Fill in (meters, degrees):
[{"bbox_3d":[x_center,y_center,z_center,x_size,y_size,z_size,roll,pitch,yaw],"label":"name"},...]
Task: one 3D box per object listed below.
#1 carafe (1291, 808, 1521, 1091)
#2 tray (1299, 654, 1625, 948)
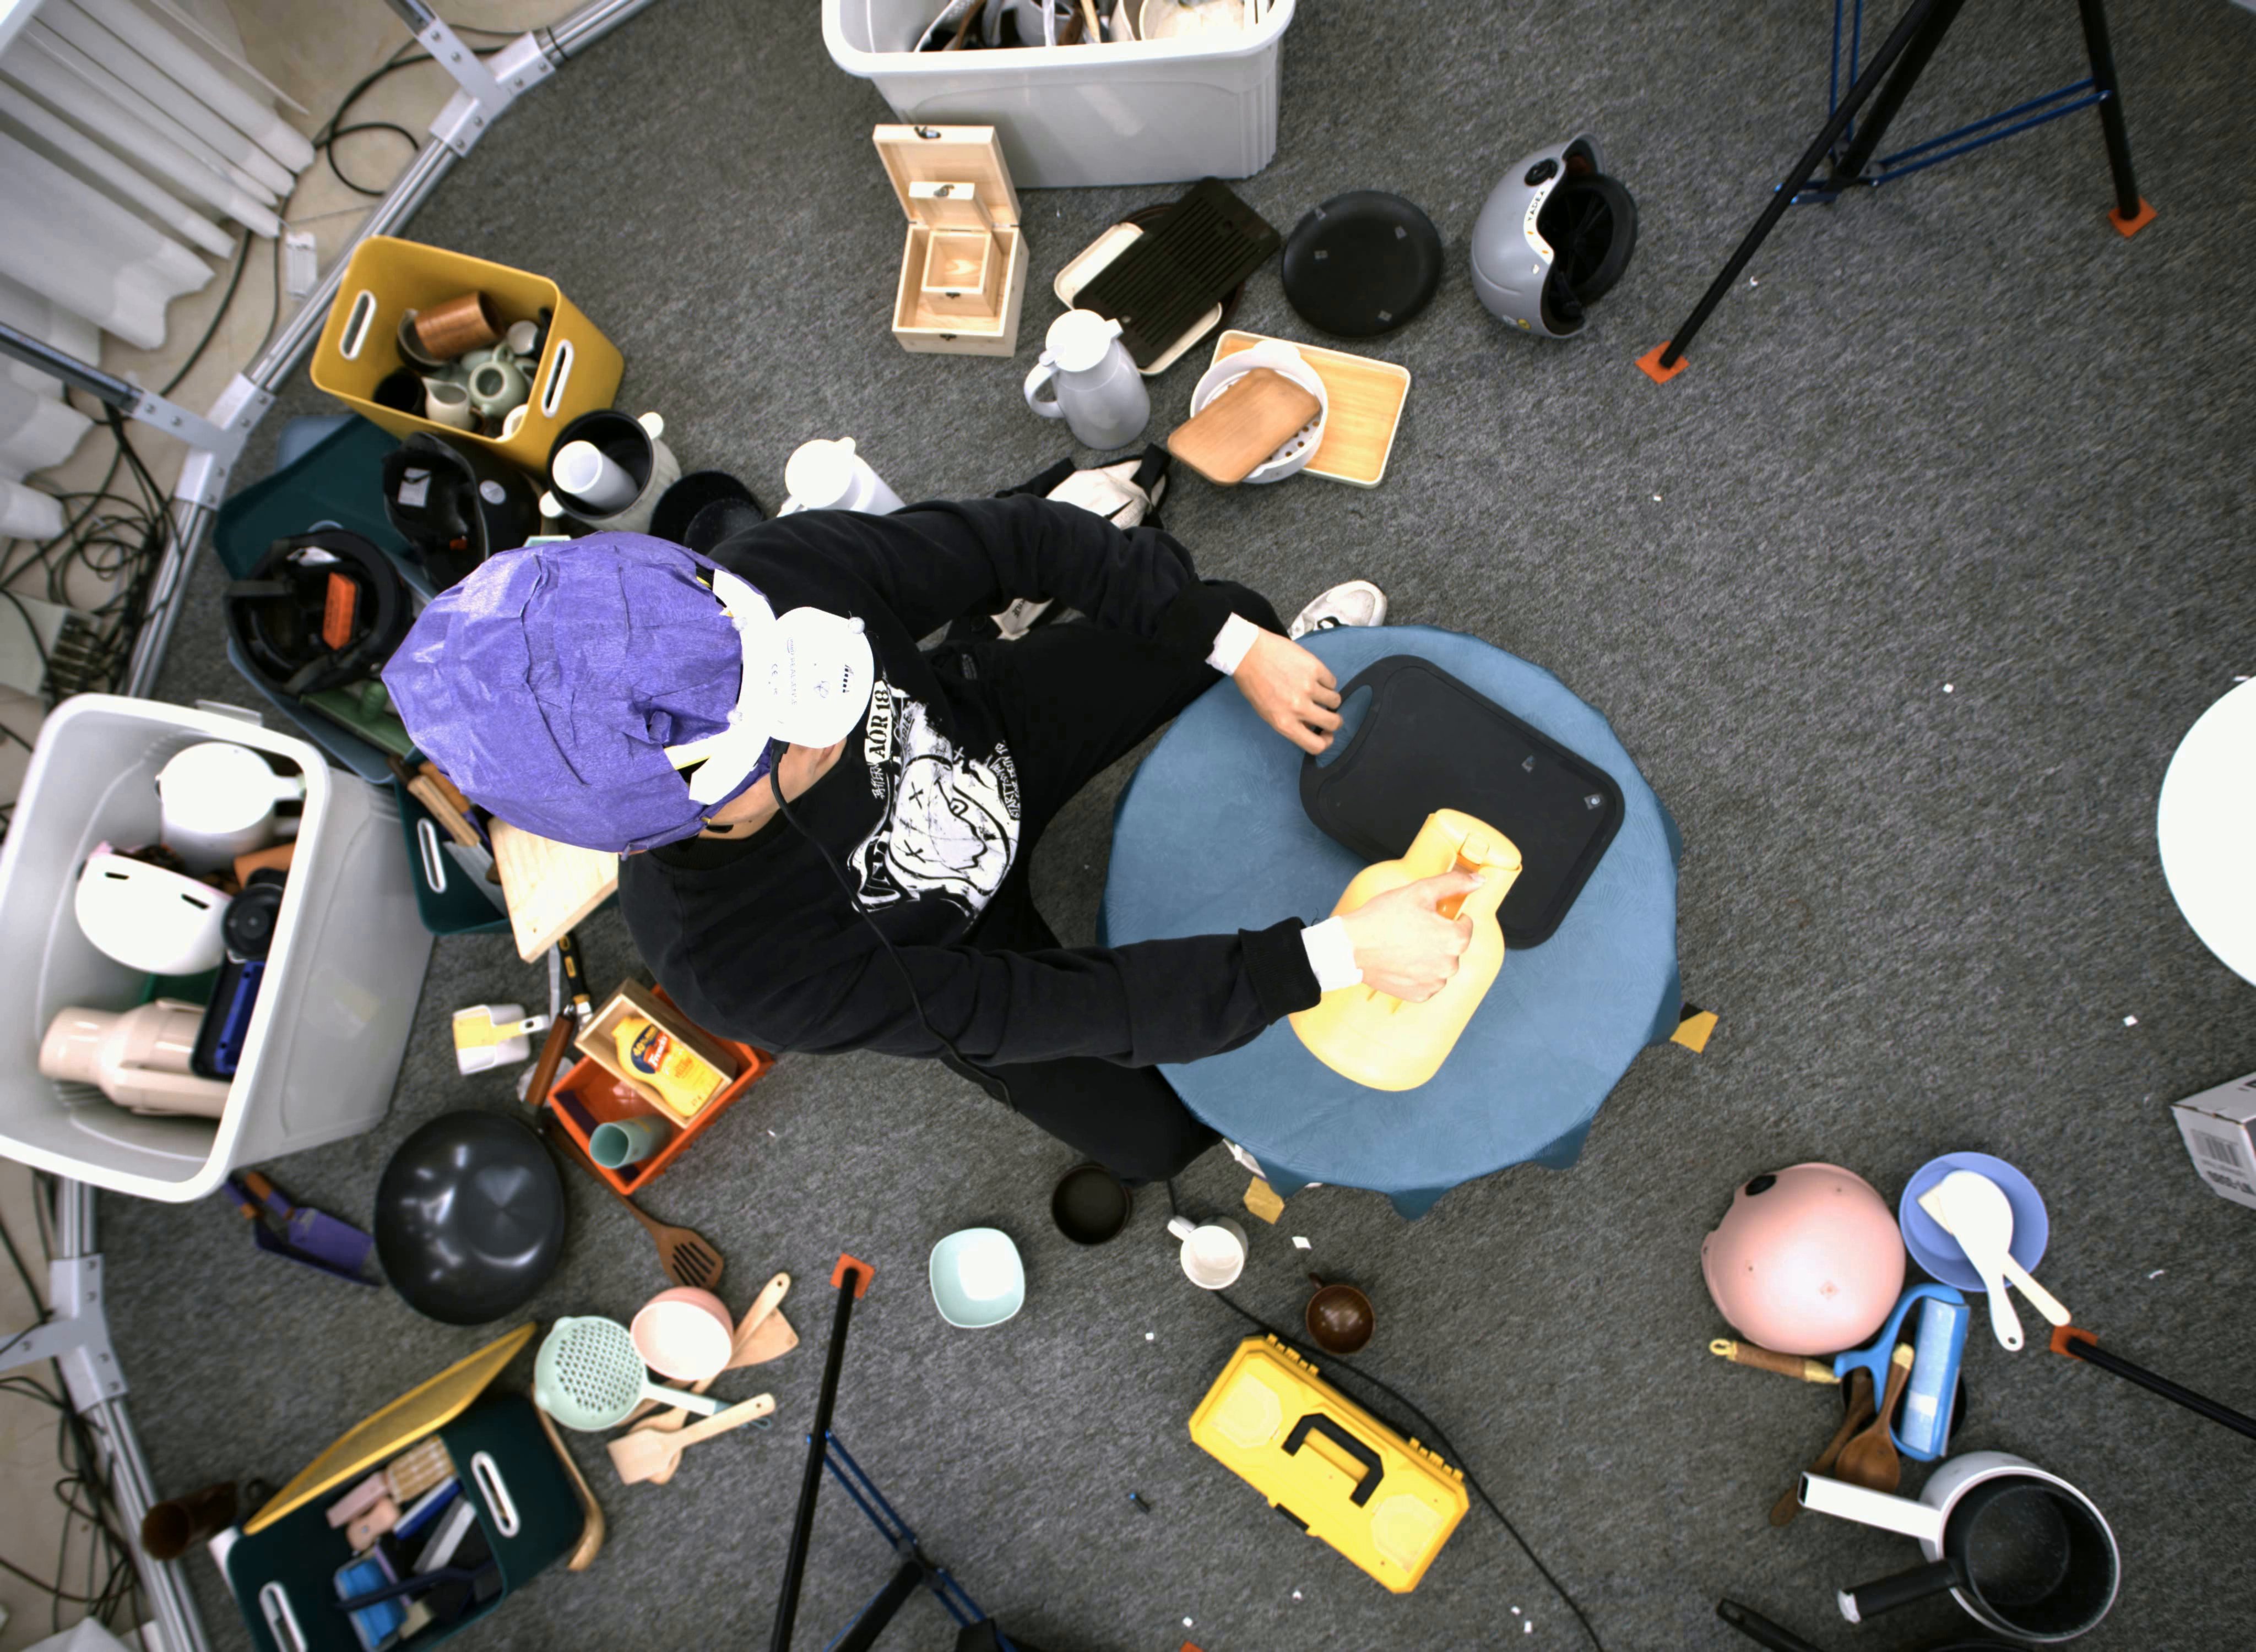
[{"bbox_3d":[0.263,0.113,1.283,0.163,0.199,0.265,28,112,12],"label":"carafe"},{"bbox_3d":[0.339,-0.032,1.421,0.325,0.010,0.211,33,93,0],"label":"tray"}]
